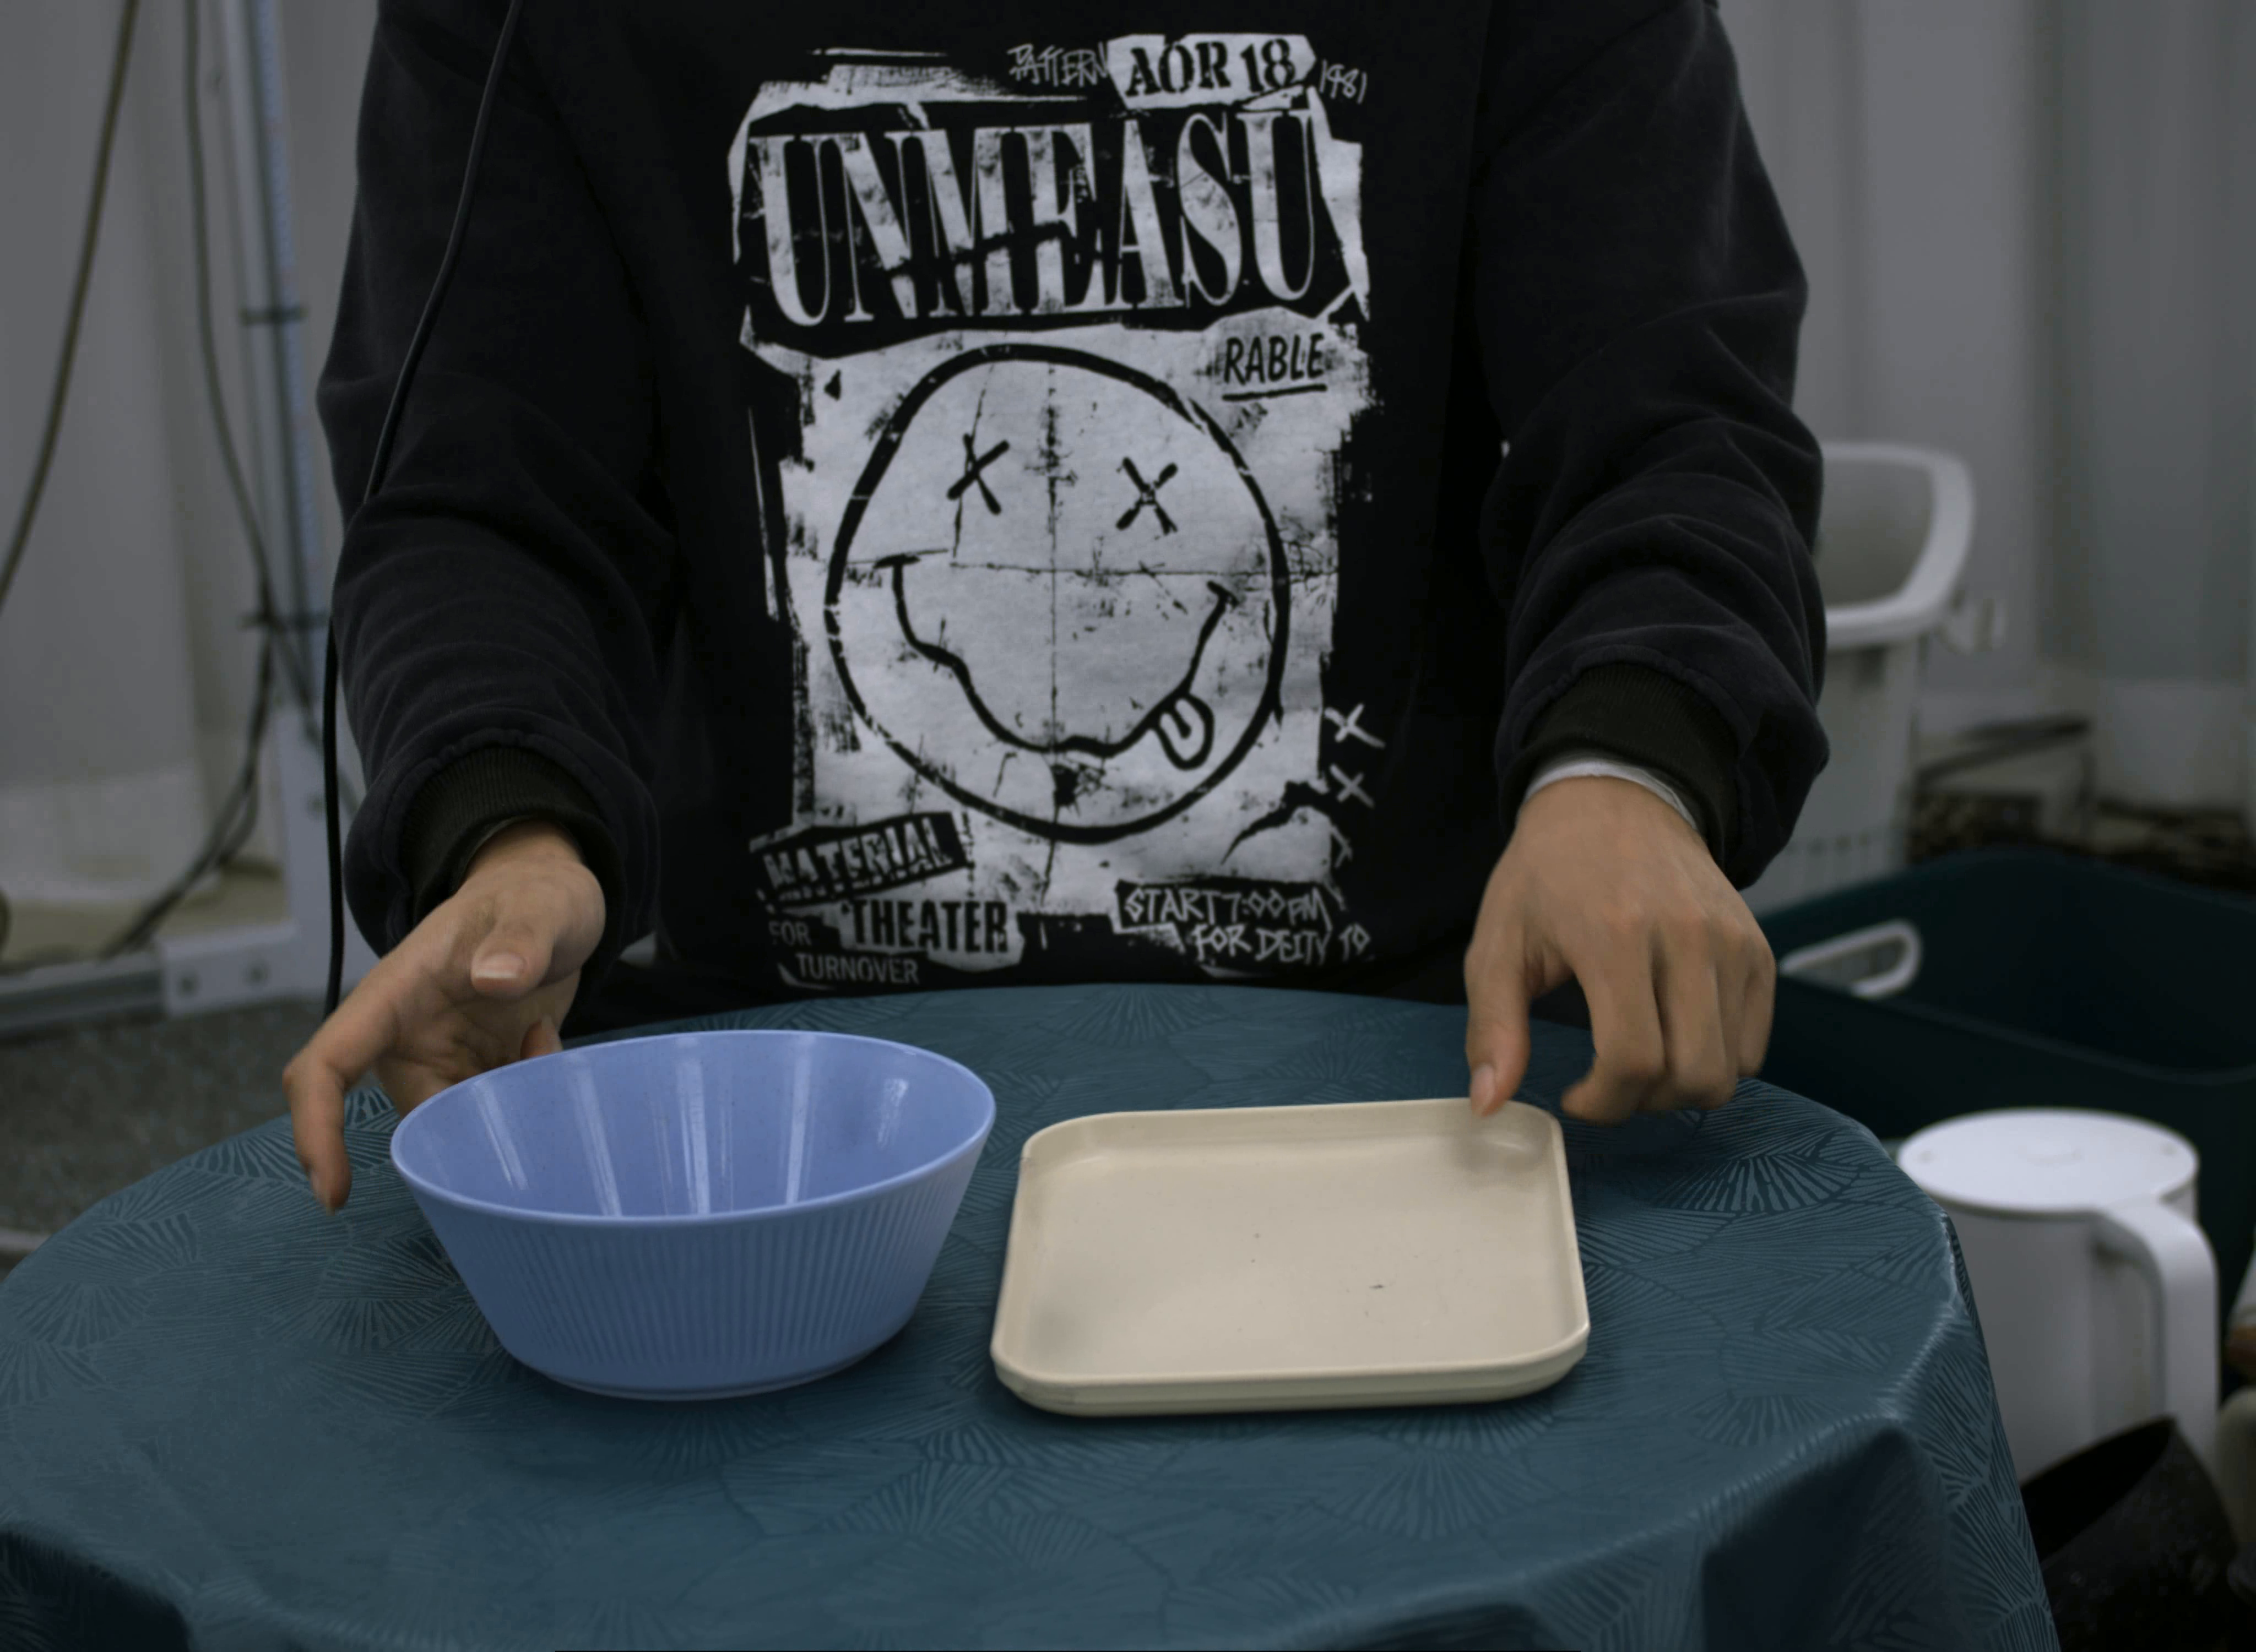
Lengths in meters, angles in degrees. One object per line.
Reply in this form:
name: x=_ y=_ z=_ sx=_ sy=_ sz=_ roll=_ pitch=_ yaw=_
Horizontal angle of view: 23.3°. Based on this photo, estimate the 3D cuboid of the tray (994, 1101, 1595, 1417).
tray: x=0.049 y=0.128 z=1.623 sx=0.171 sy=0.017 sz=0.241 roll=-2 pitch=15 yaw=2

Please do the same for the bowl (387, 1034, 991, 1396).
bowl: x=-0.126 y=0.116 z=1.597 sx=0.175 sy=0.070 sz=0.177 roll=-2 pitch=15 yaw=0
